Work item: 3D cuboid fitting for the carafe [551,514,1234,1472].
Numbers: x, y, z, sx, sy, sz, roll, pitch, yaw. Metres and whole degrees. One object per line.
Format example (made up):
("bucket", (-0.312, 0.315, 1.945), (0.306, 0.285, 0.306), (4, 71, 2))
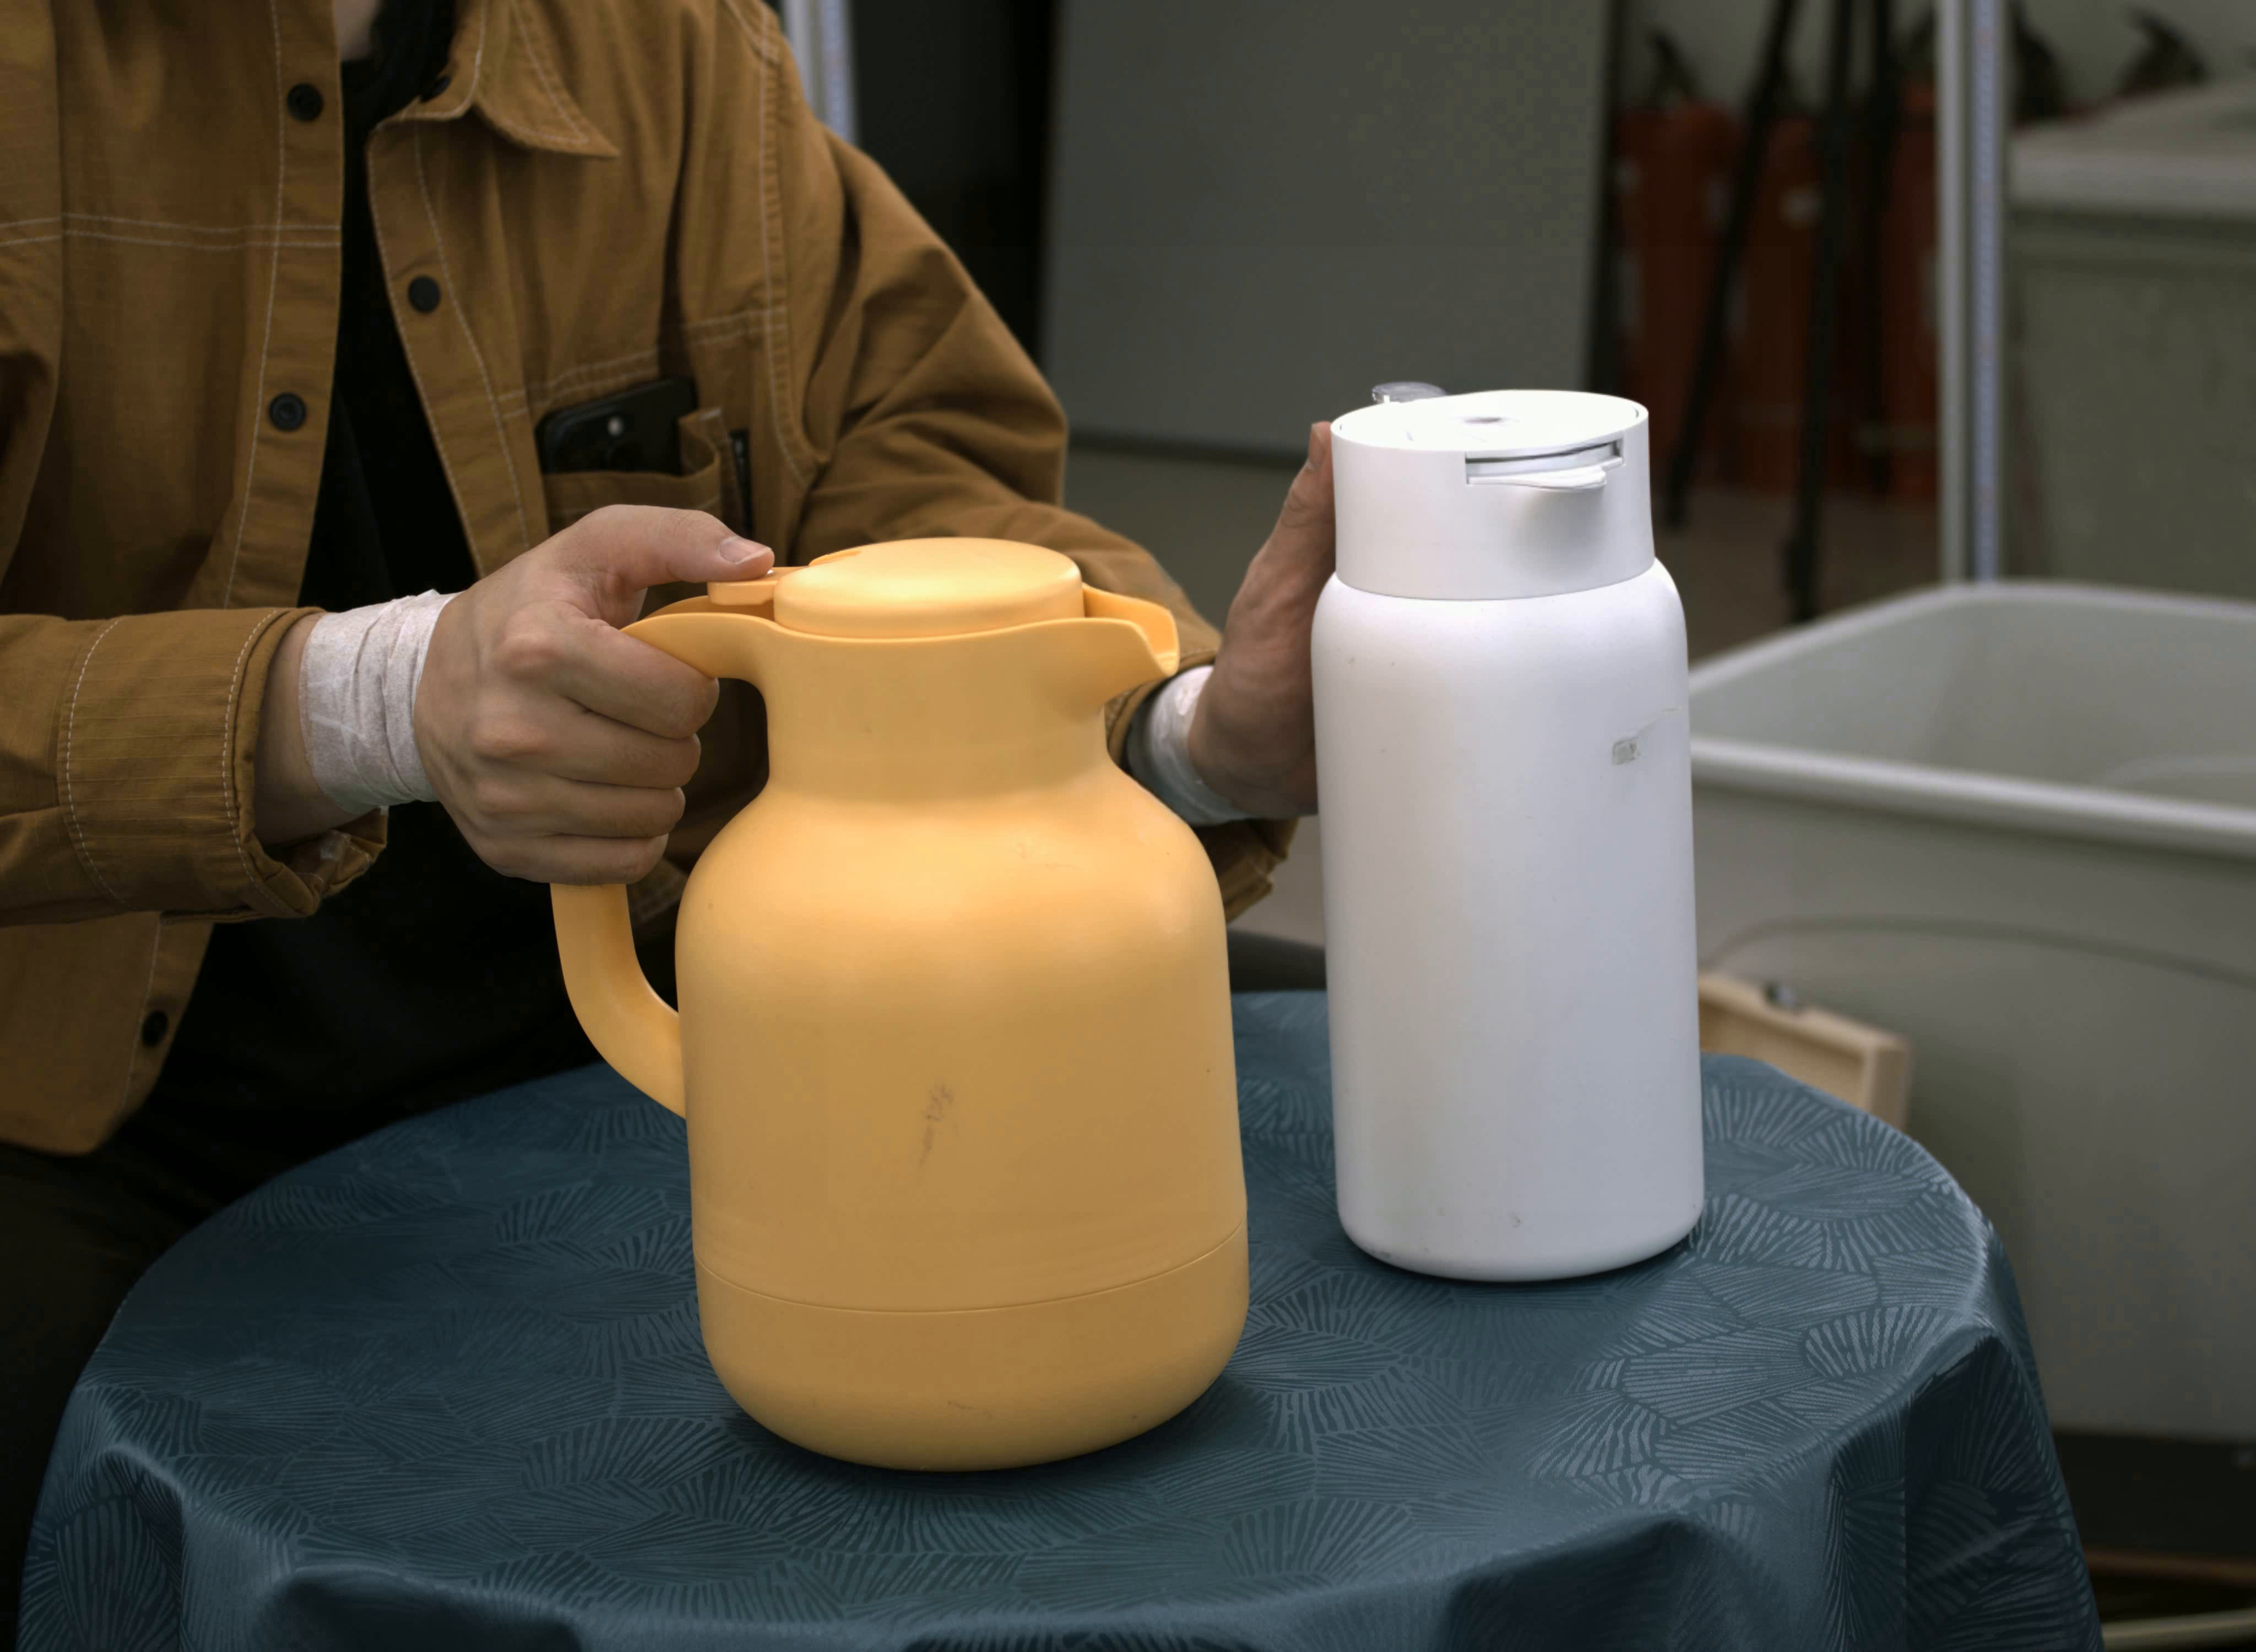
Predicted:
("carafe", (-0.069, 0.043, 1.563), (0.202, 0.263, 0.161), (3, 13, 23))

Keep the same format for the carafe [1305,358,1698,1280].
("carafe", (0.108, -0.005, 1.690), (0.121, 0.272, 0.174), (-11, 15, -19))
